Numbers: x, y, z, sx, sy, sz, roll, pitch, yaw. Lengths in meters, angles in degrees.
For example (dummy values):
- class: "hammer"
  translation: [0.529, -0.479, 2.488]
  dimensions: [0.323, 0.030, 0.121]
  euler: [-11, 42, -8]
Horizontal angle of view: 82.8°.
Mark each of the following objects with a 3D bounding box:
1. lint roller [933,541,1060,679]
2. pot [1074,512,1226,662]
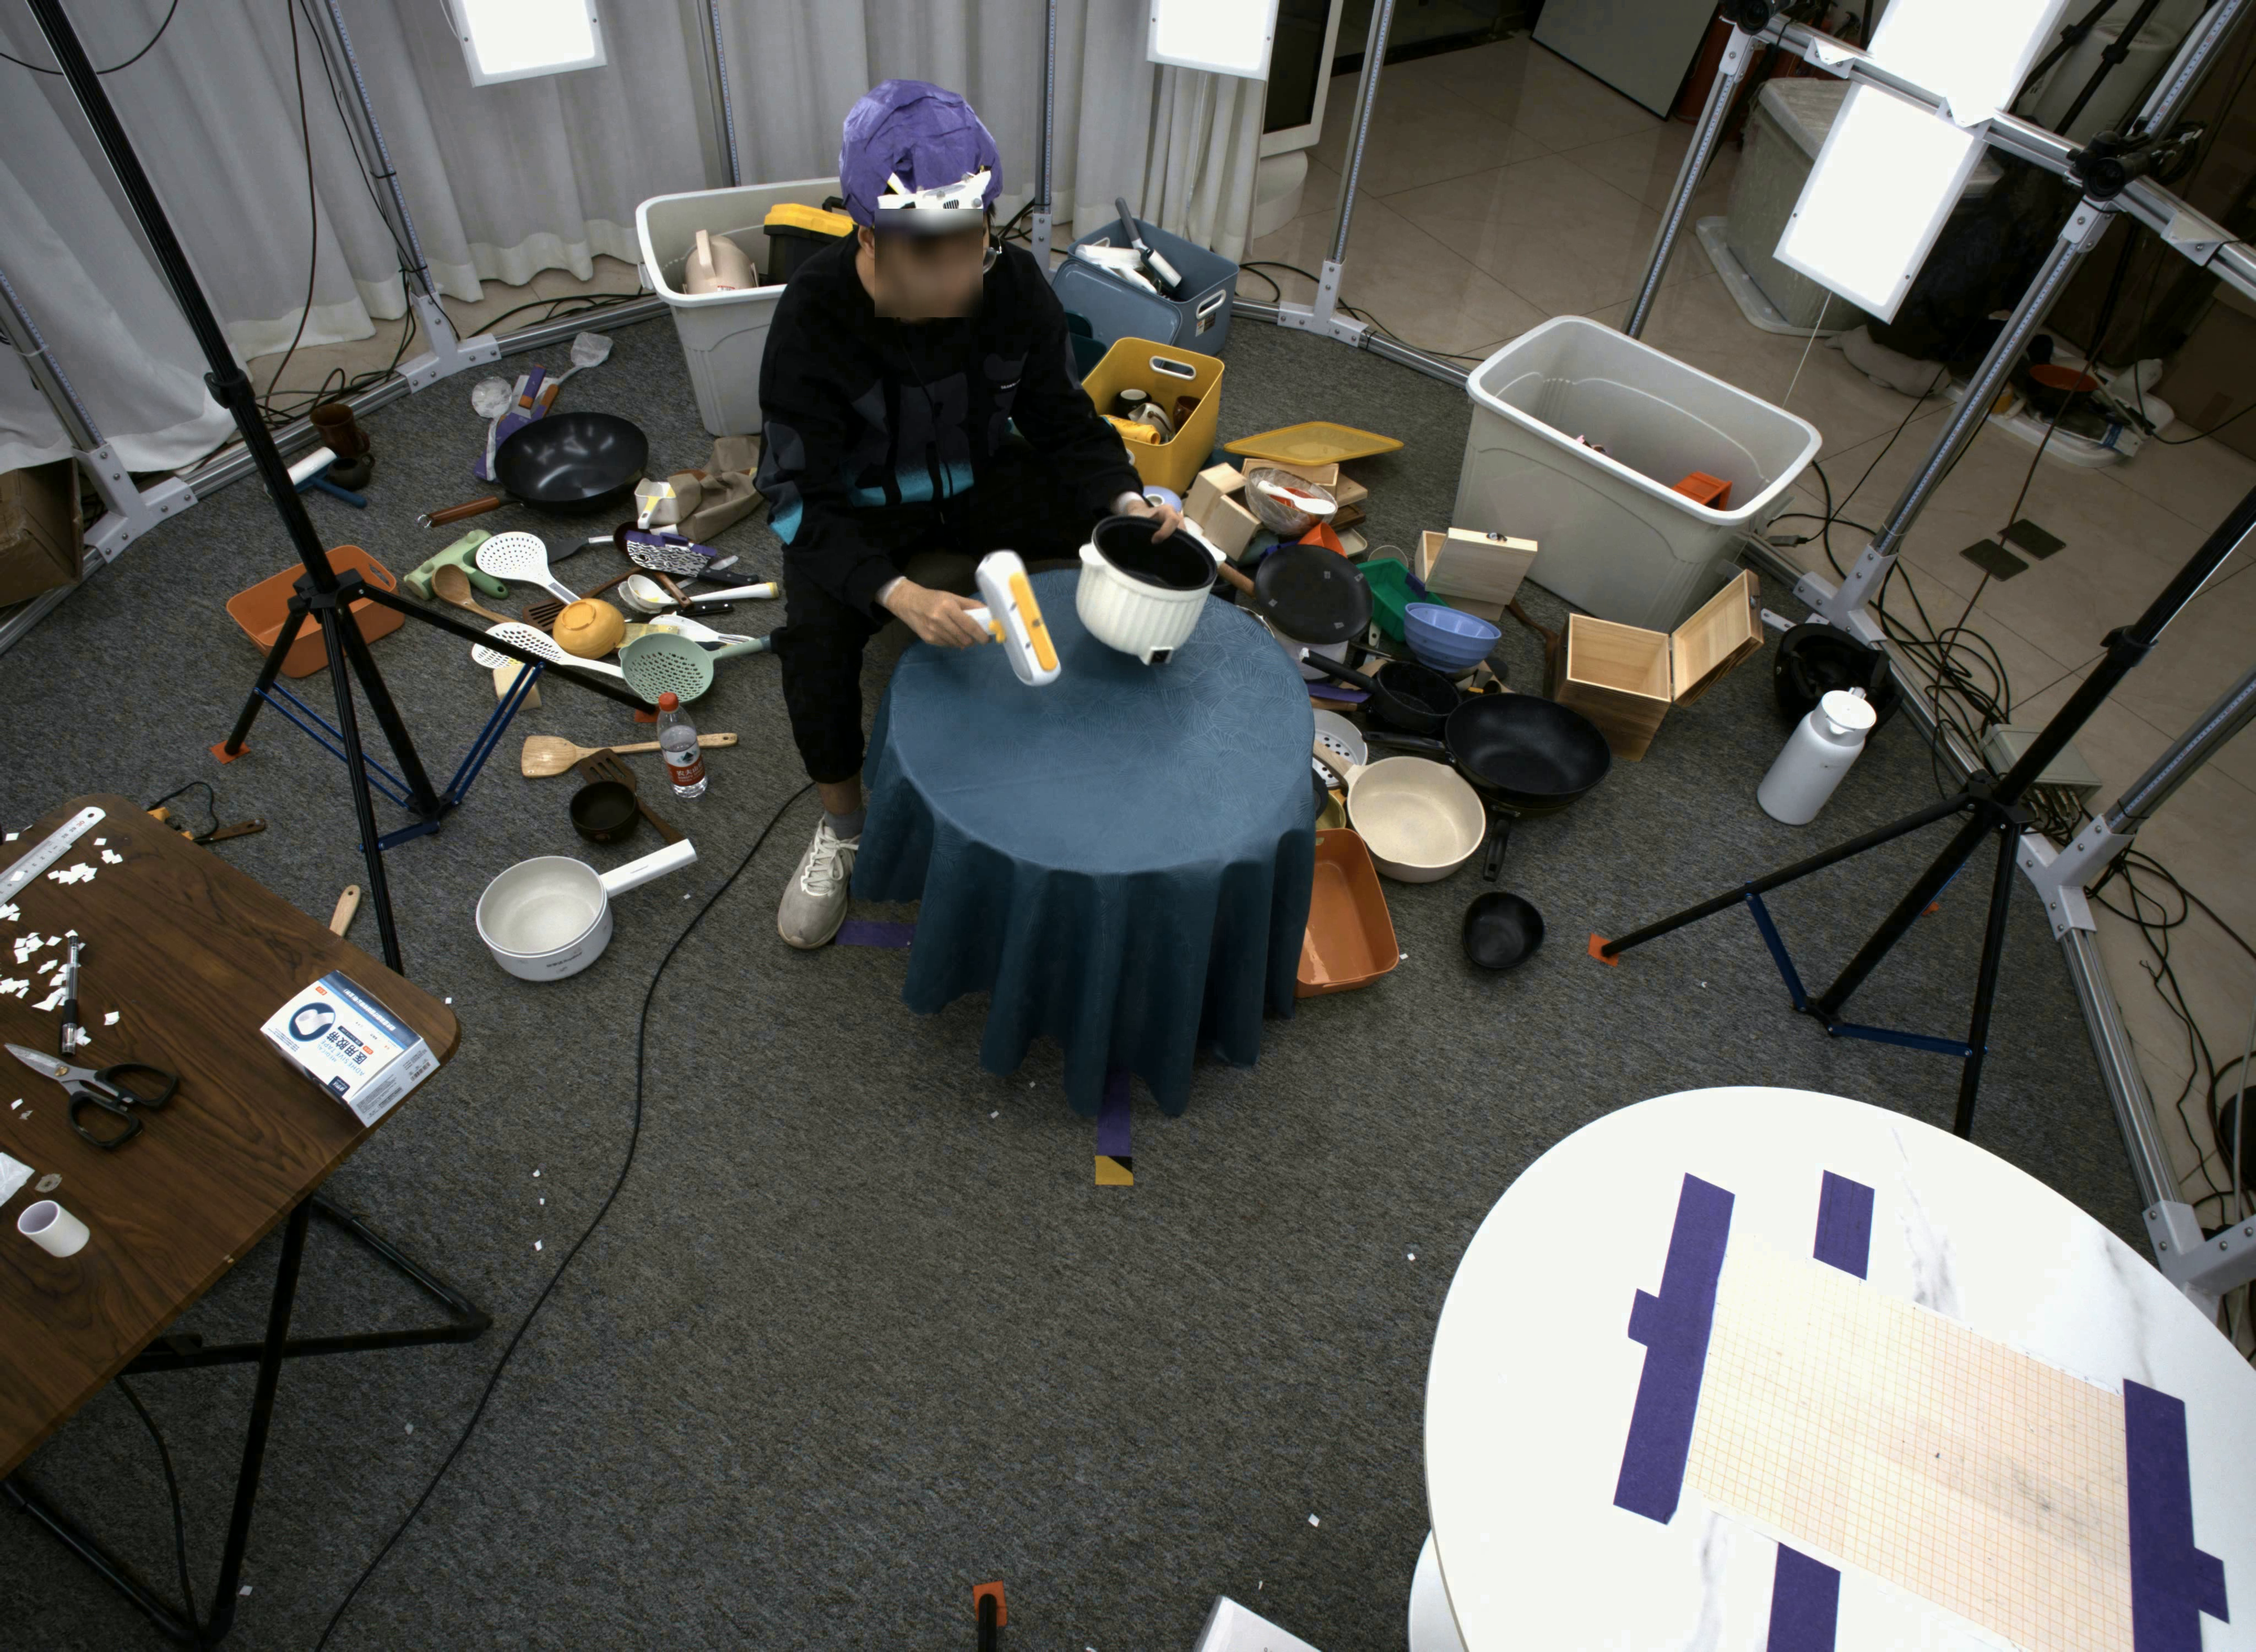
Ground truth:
- class: "lint roller"
  translation: [-0.192, -0.288, 1.776]
  dimensions: [0.193, 0.190, 0.075]
  euler: [2, 34, 48]
- class: "pot"
  translation: [0.014, -0.340, 1.822]
  dimensions: [0.240, 0.140, 0.195]
  euler: [-5, 48, -33]
